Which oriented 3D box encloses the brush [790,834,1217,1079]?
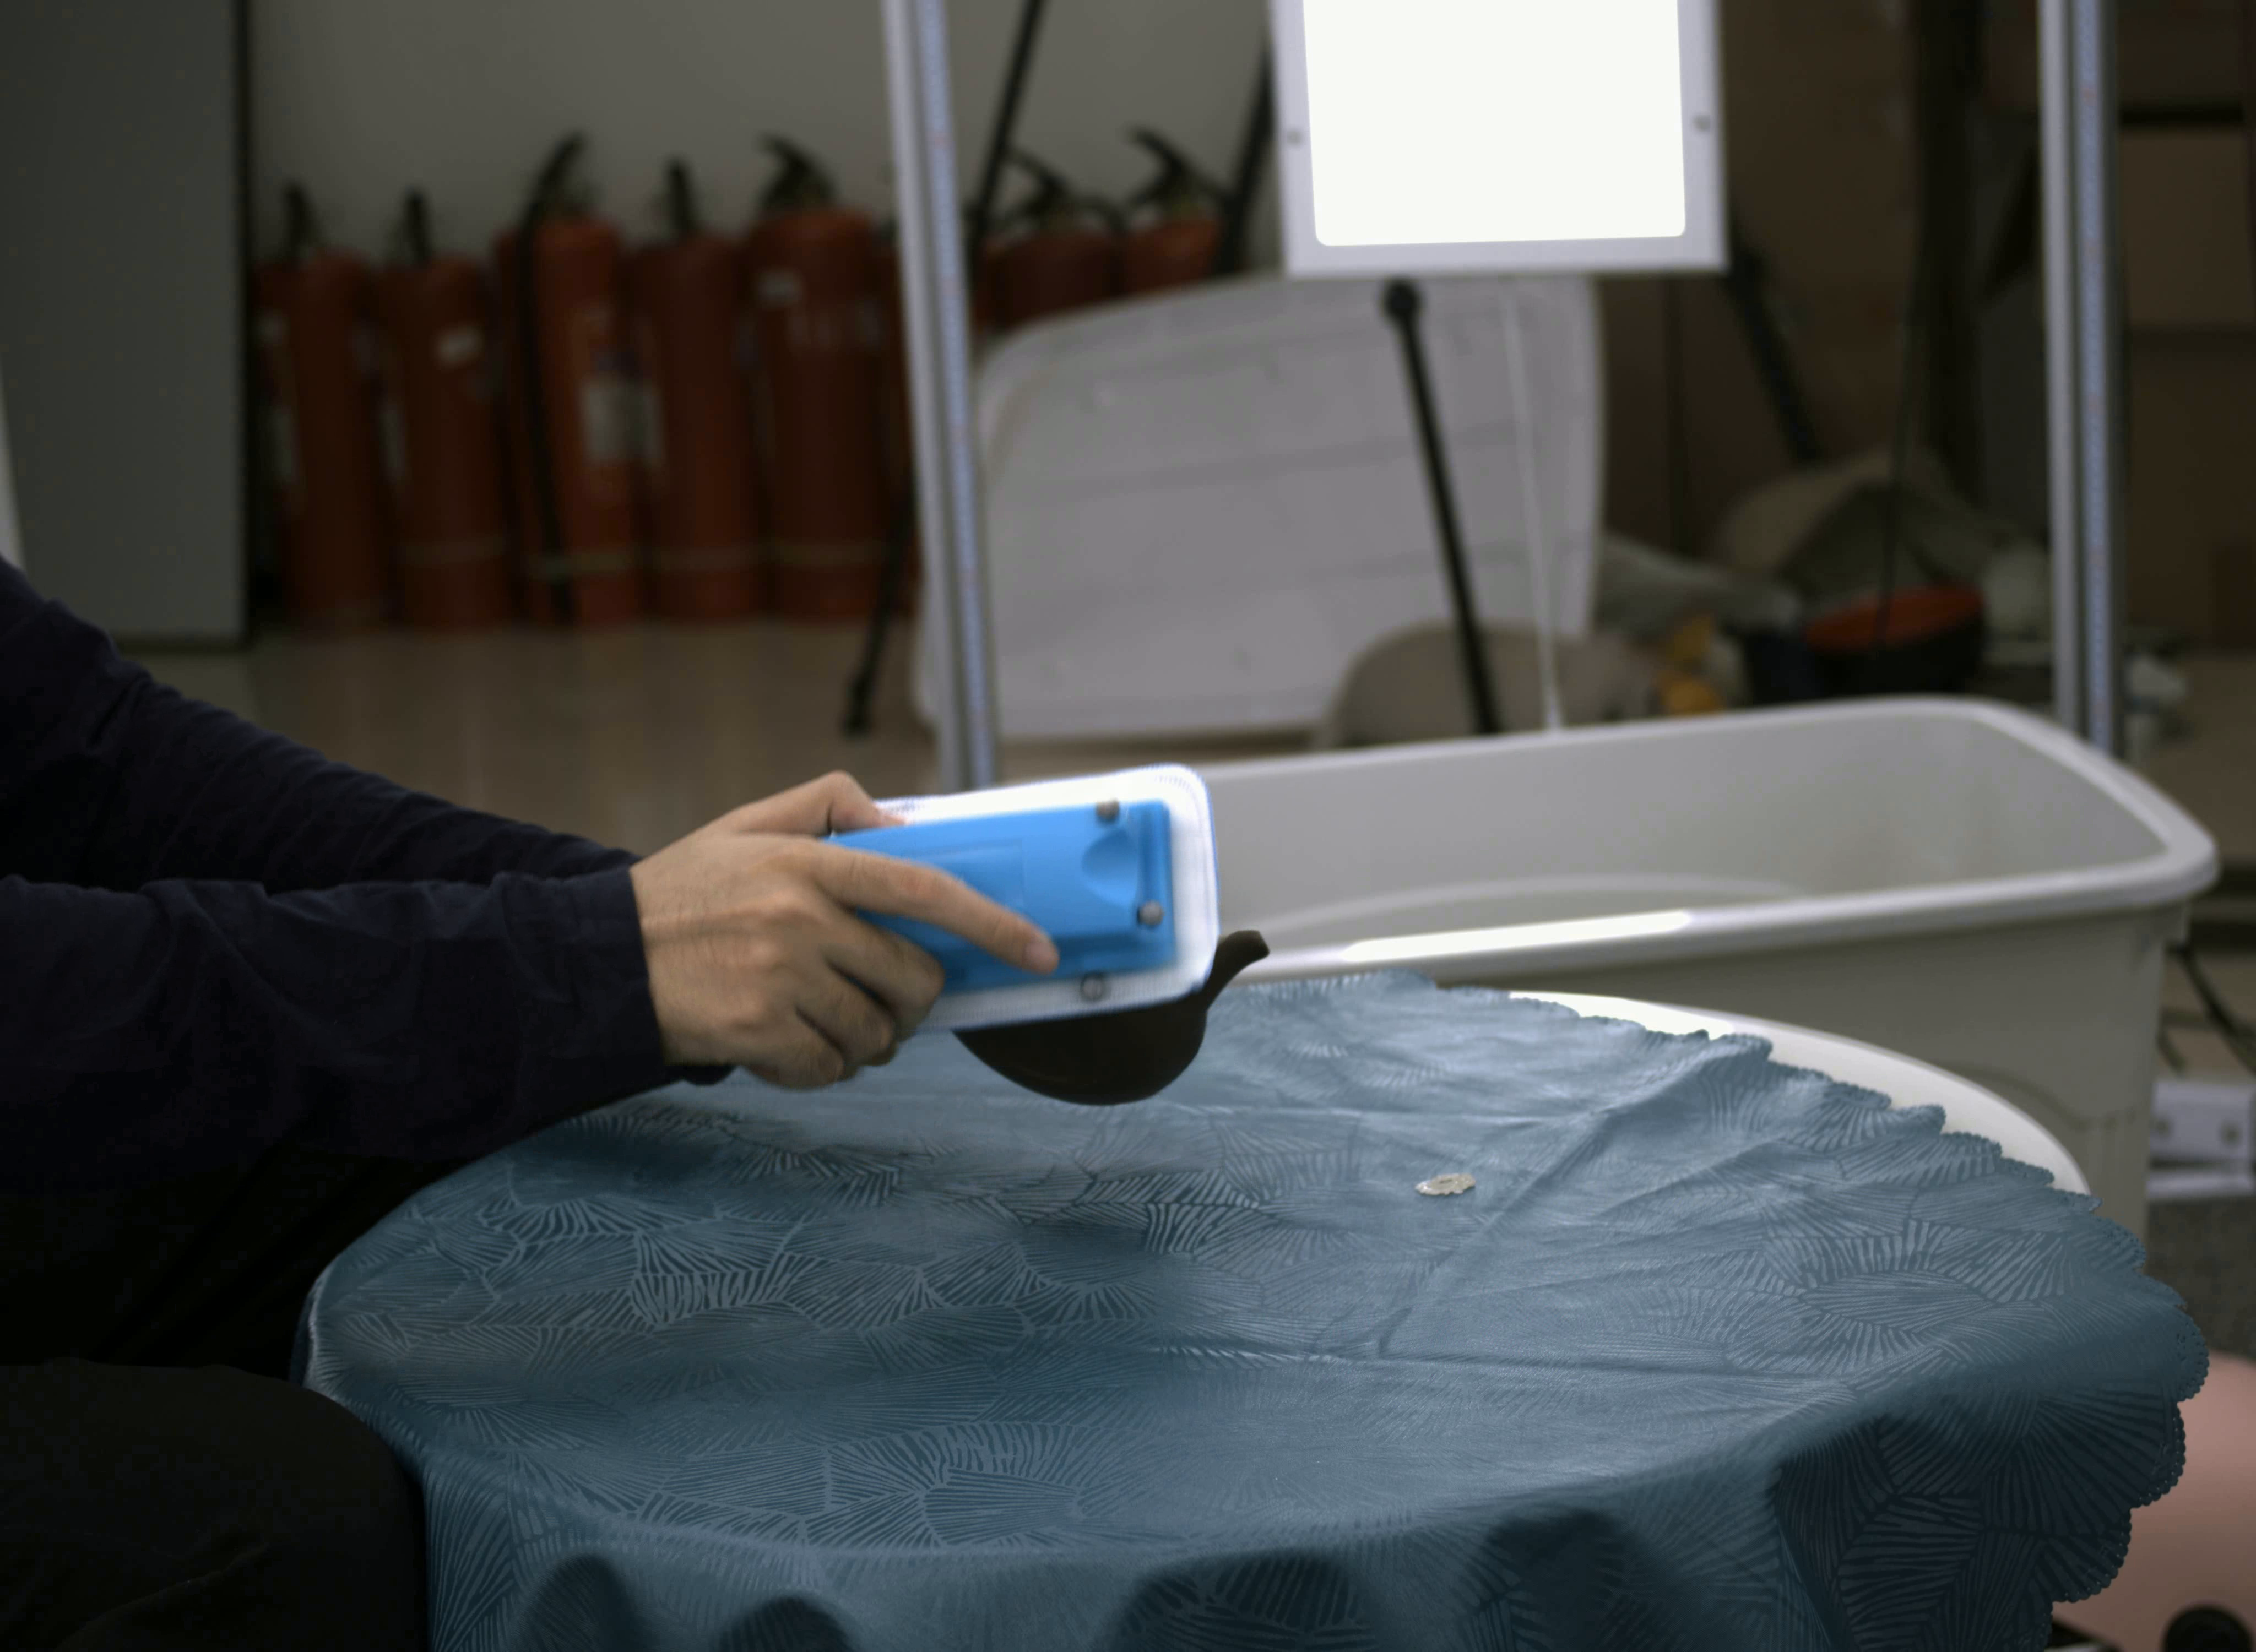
[{"bbox_3d":[-0.044,0.035,1.783,0.145,0.084,0.055,-4,-23,18],"label":"brush"}]

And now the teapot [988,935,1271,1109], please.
[{"bbox_3d":[-0.025,0.053,1.897,0.156,0.102,0.053,6,47,31],"label":"teapot"}]
